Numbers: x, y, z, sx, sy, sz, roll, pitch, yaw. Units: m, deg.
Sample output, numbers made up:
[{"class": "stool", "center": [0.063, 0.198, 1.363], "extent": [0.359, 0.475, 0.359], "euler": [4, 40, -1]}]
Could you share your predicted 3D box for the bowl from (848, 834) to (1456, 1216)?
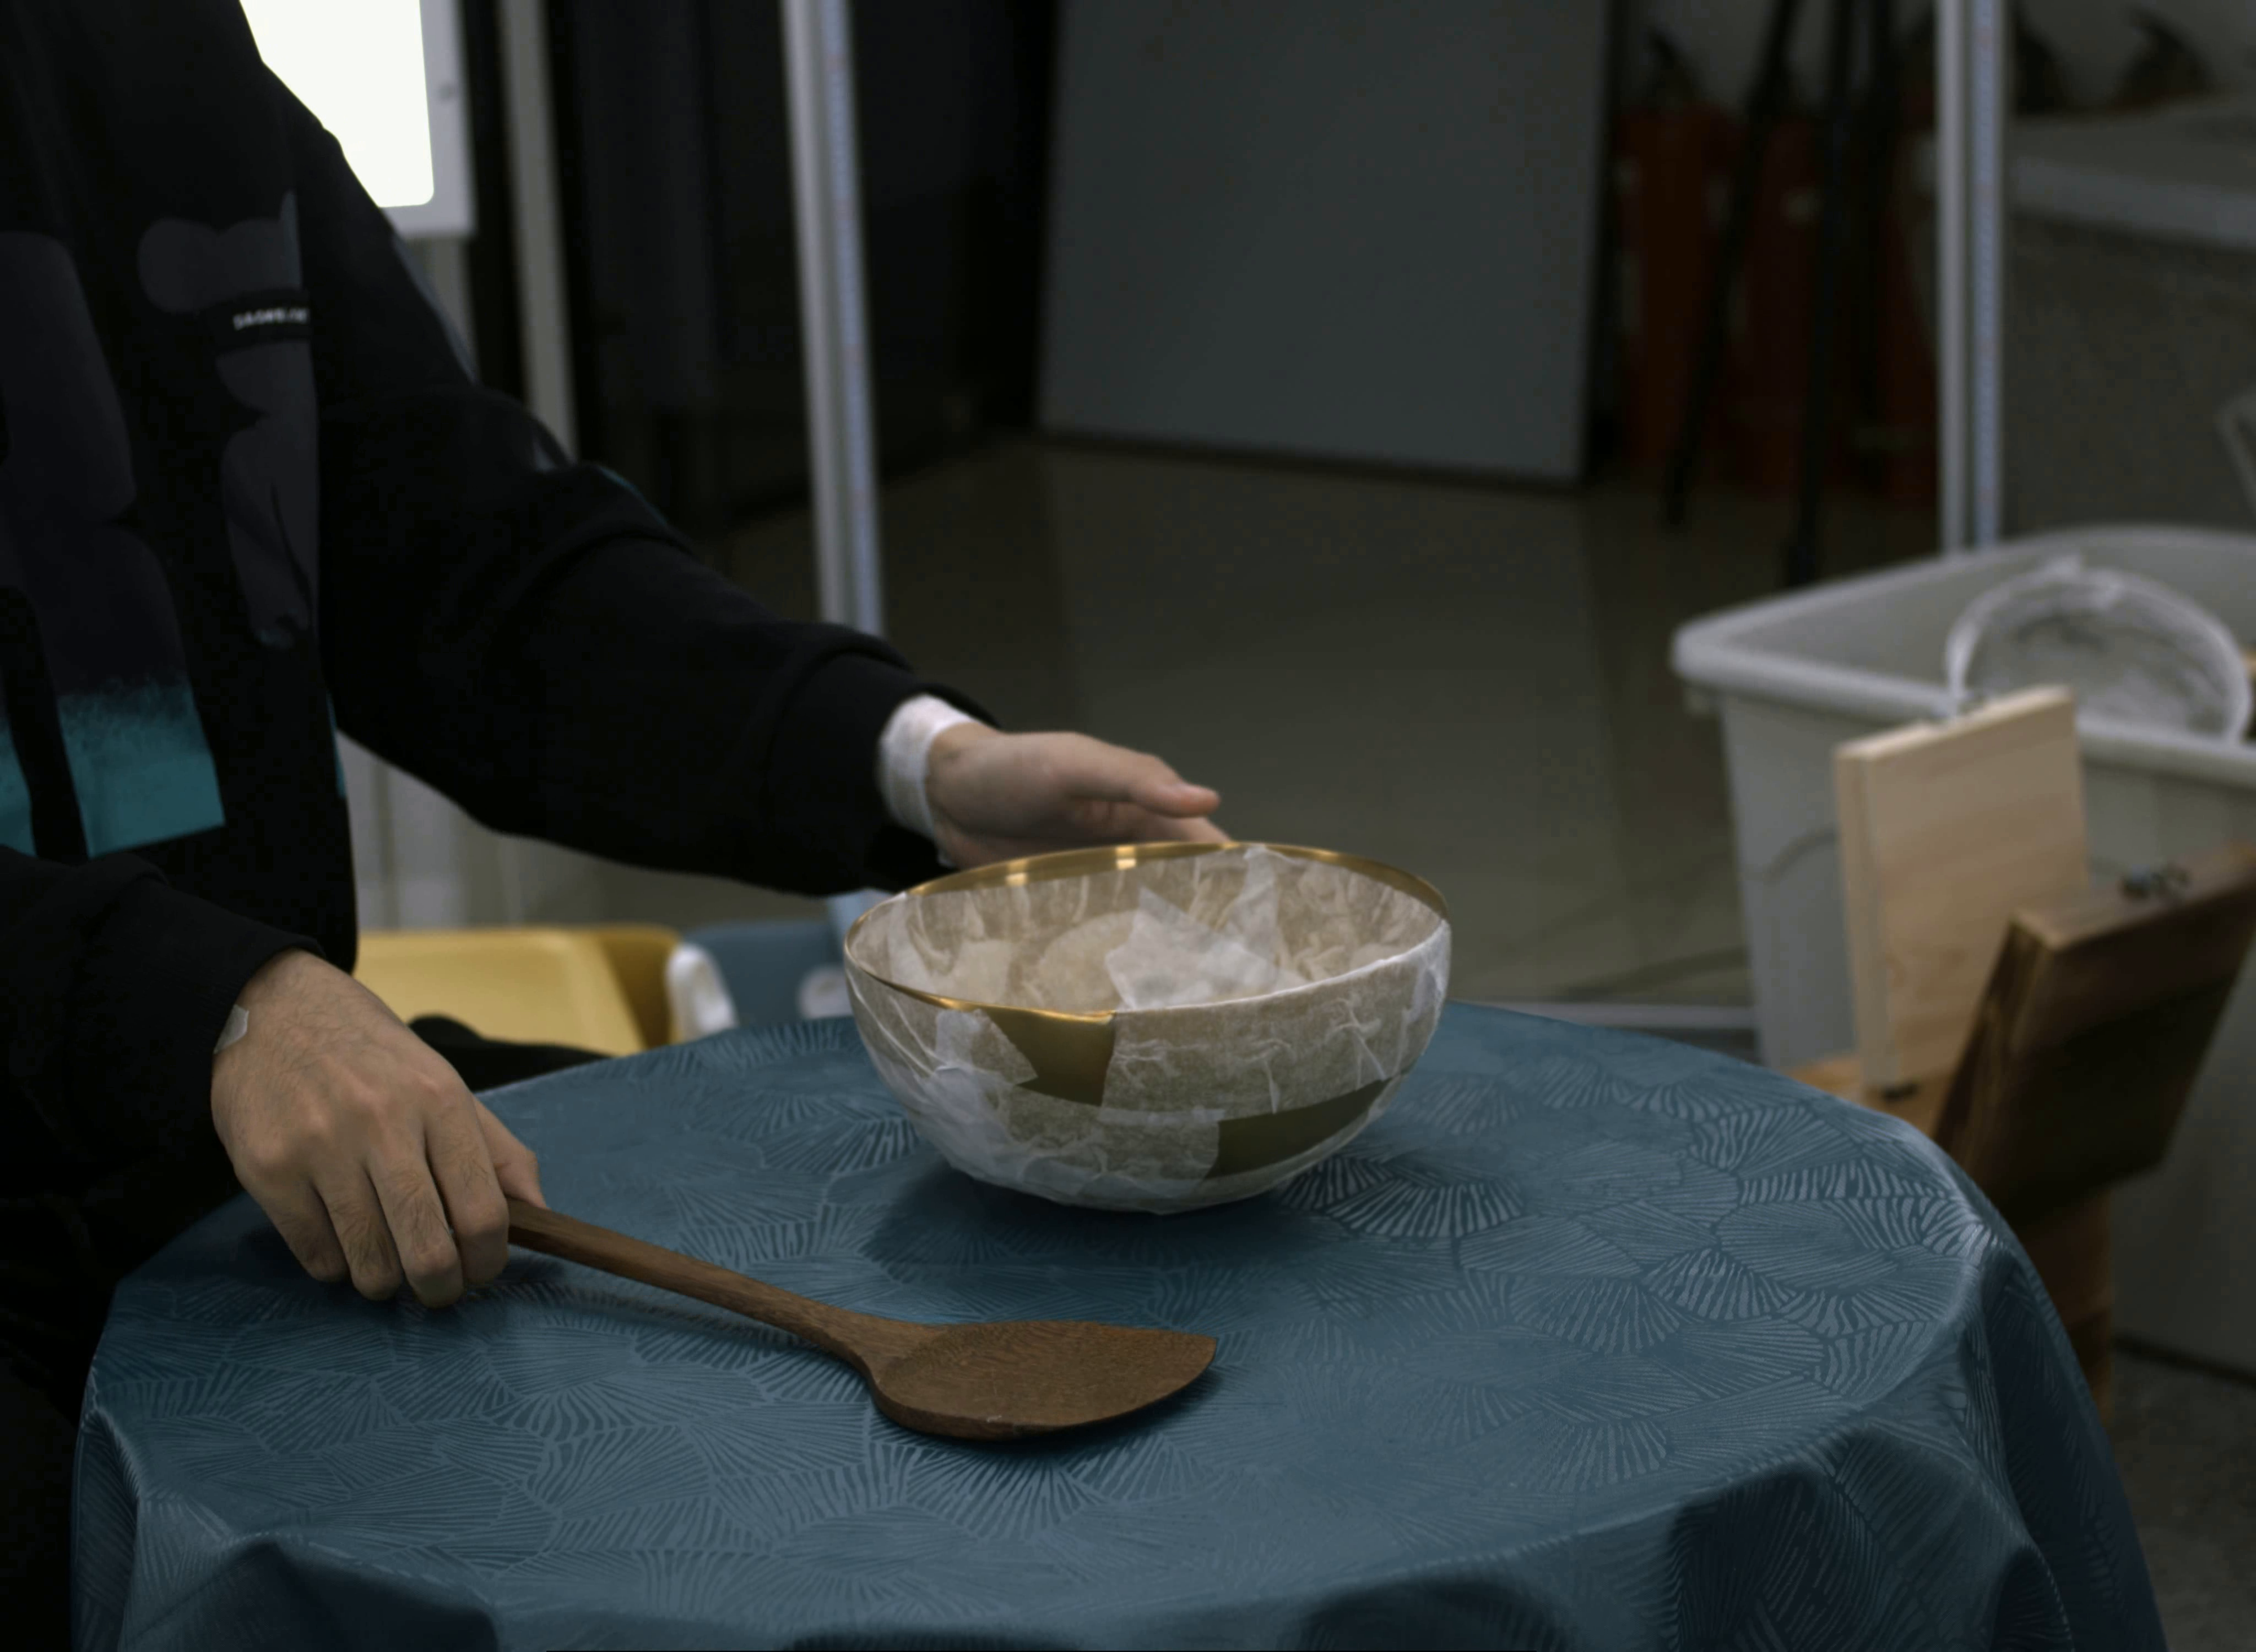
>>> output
[{"class": "bowl", "center": [0.009, 0.072, 1.770], "extent": [0.212, 0.095, 0.215], "euler": [-5, 15, 0]}]

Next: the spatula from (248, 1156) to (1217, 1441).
[{"class": "spatula", "center": [-0.140, 0.142, 1.677], "extent": [0.389, 0.016, 0.094], "euler": [11, 19, 39]}]
